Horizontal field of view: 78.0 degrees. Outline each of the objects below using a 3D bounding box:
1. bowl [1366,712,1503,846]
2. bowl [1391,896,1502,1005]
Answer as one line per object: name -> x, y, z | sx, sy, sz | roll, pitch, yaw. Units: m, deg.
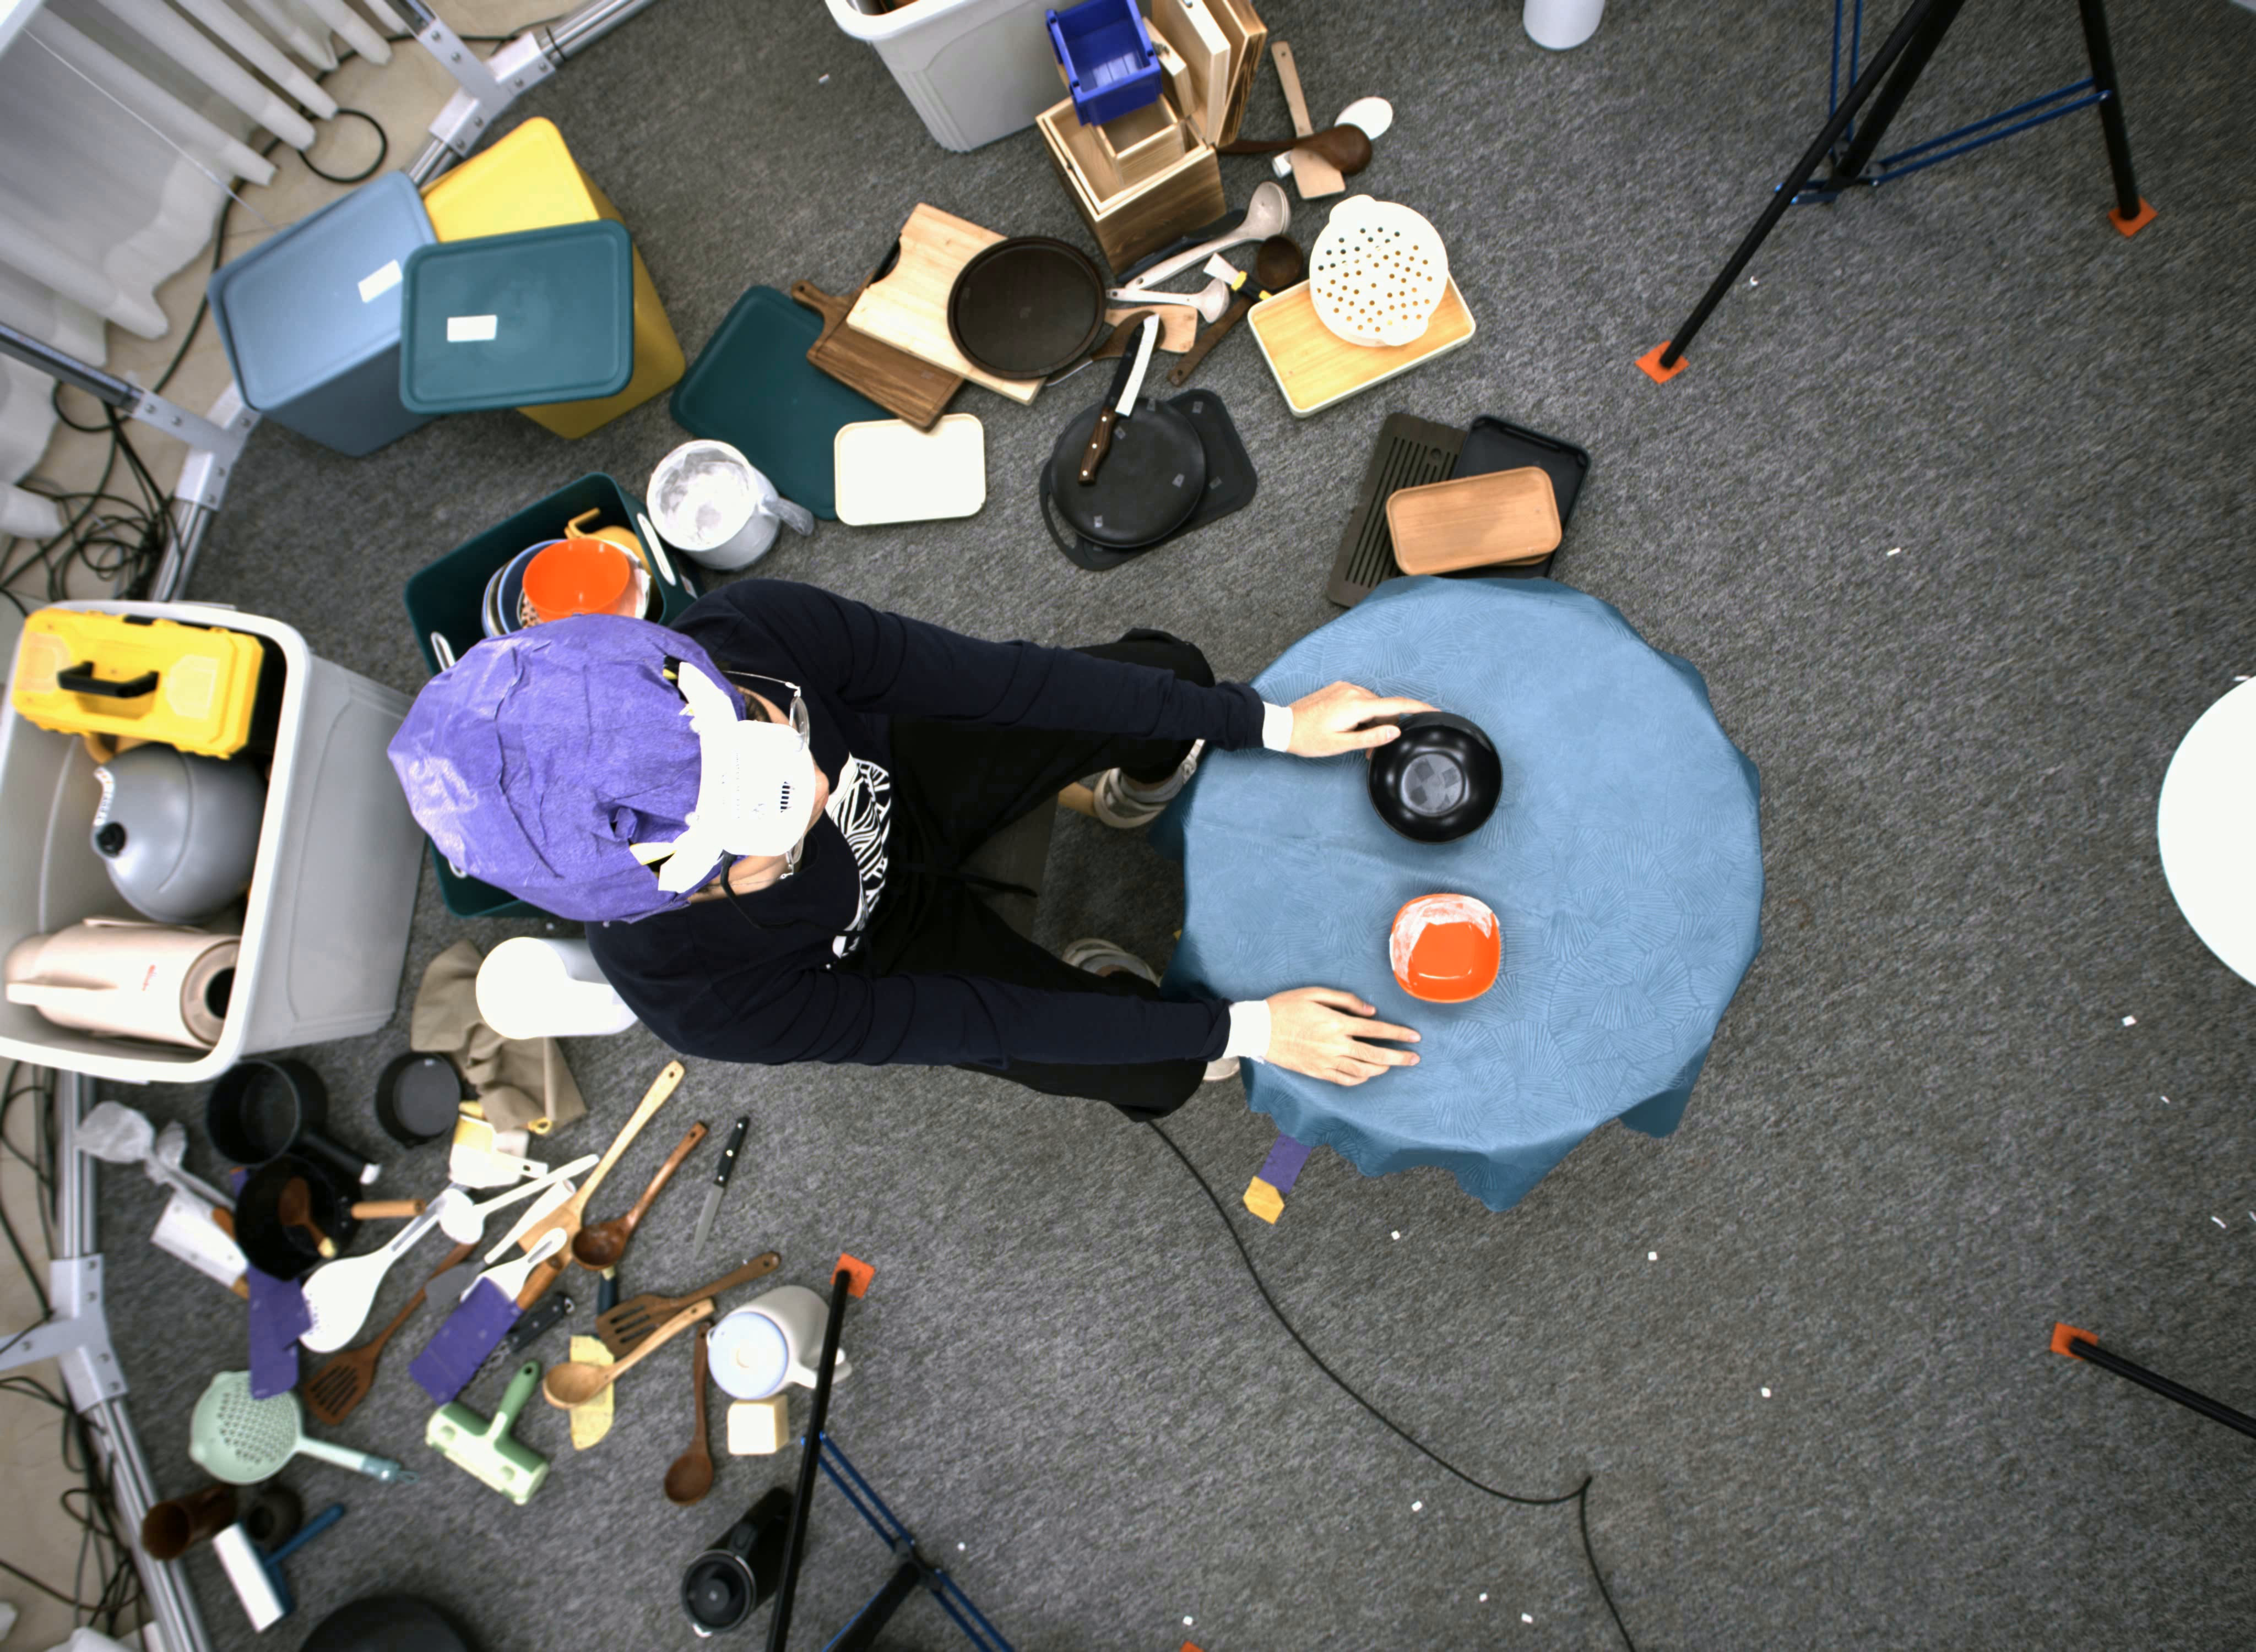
bowl -> 0.319, -0.048, 1.435 | 0.141, 0.050, 0.139 | -1, 87, 15
bowl -> 0.324, 0.124, 1.415 | 0.119, 0.051, 0.119 | 0, 93, 7
